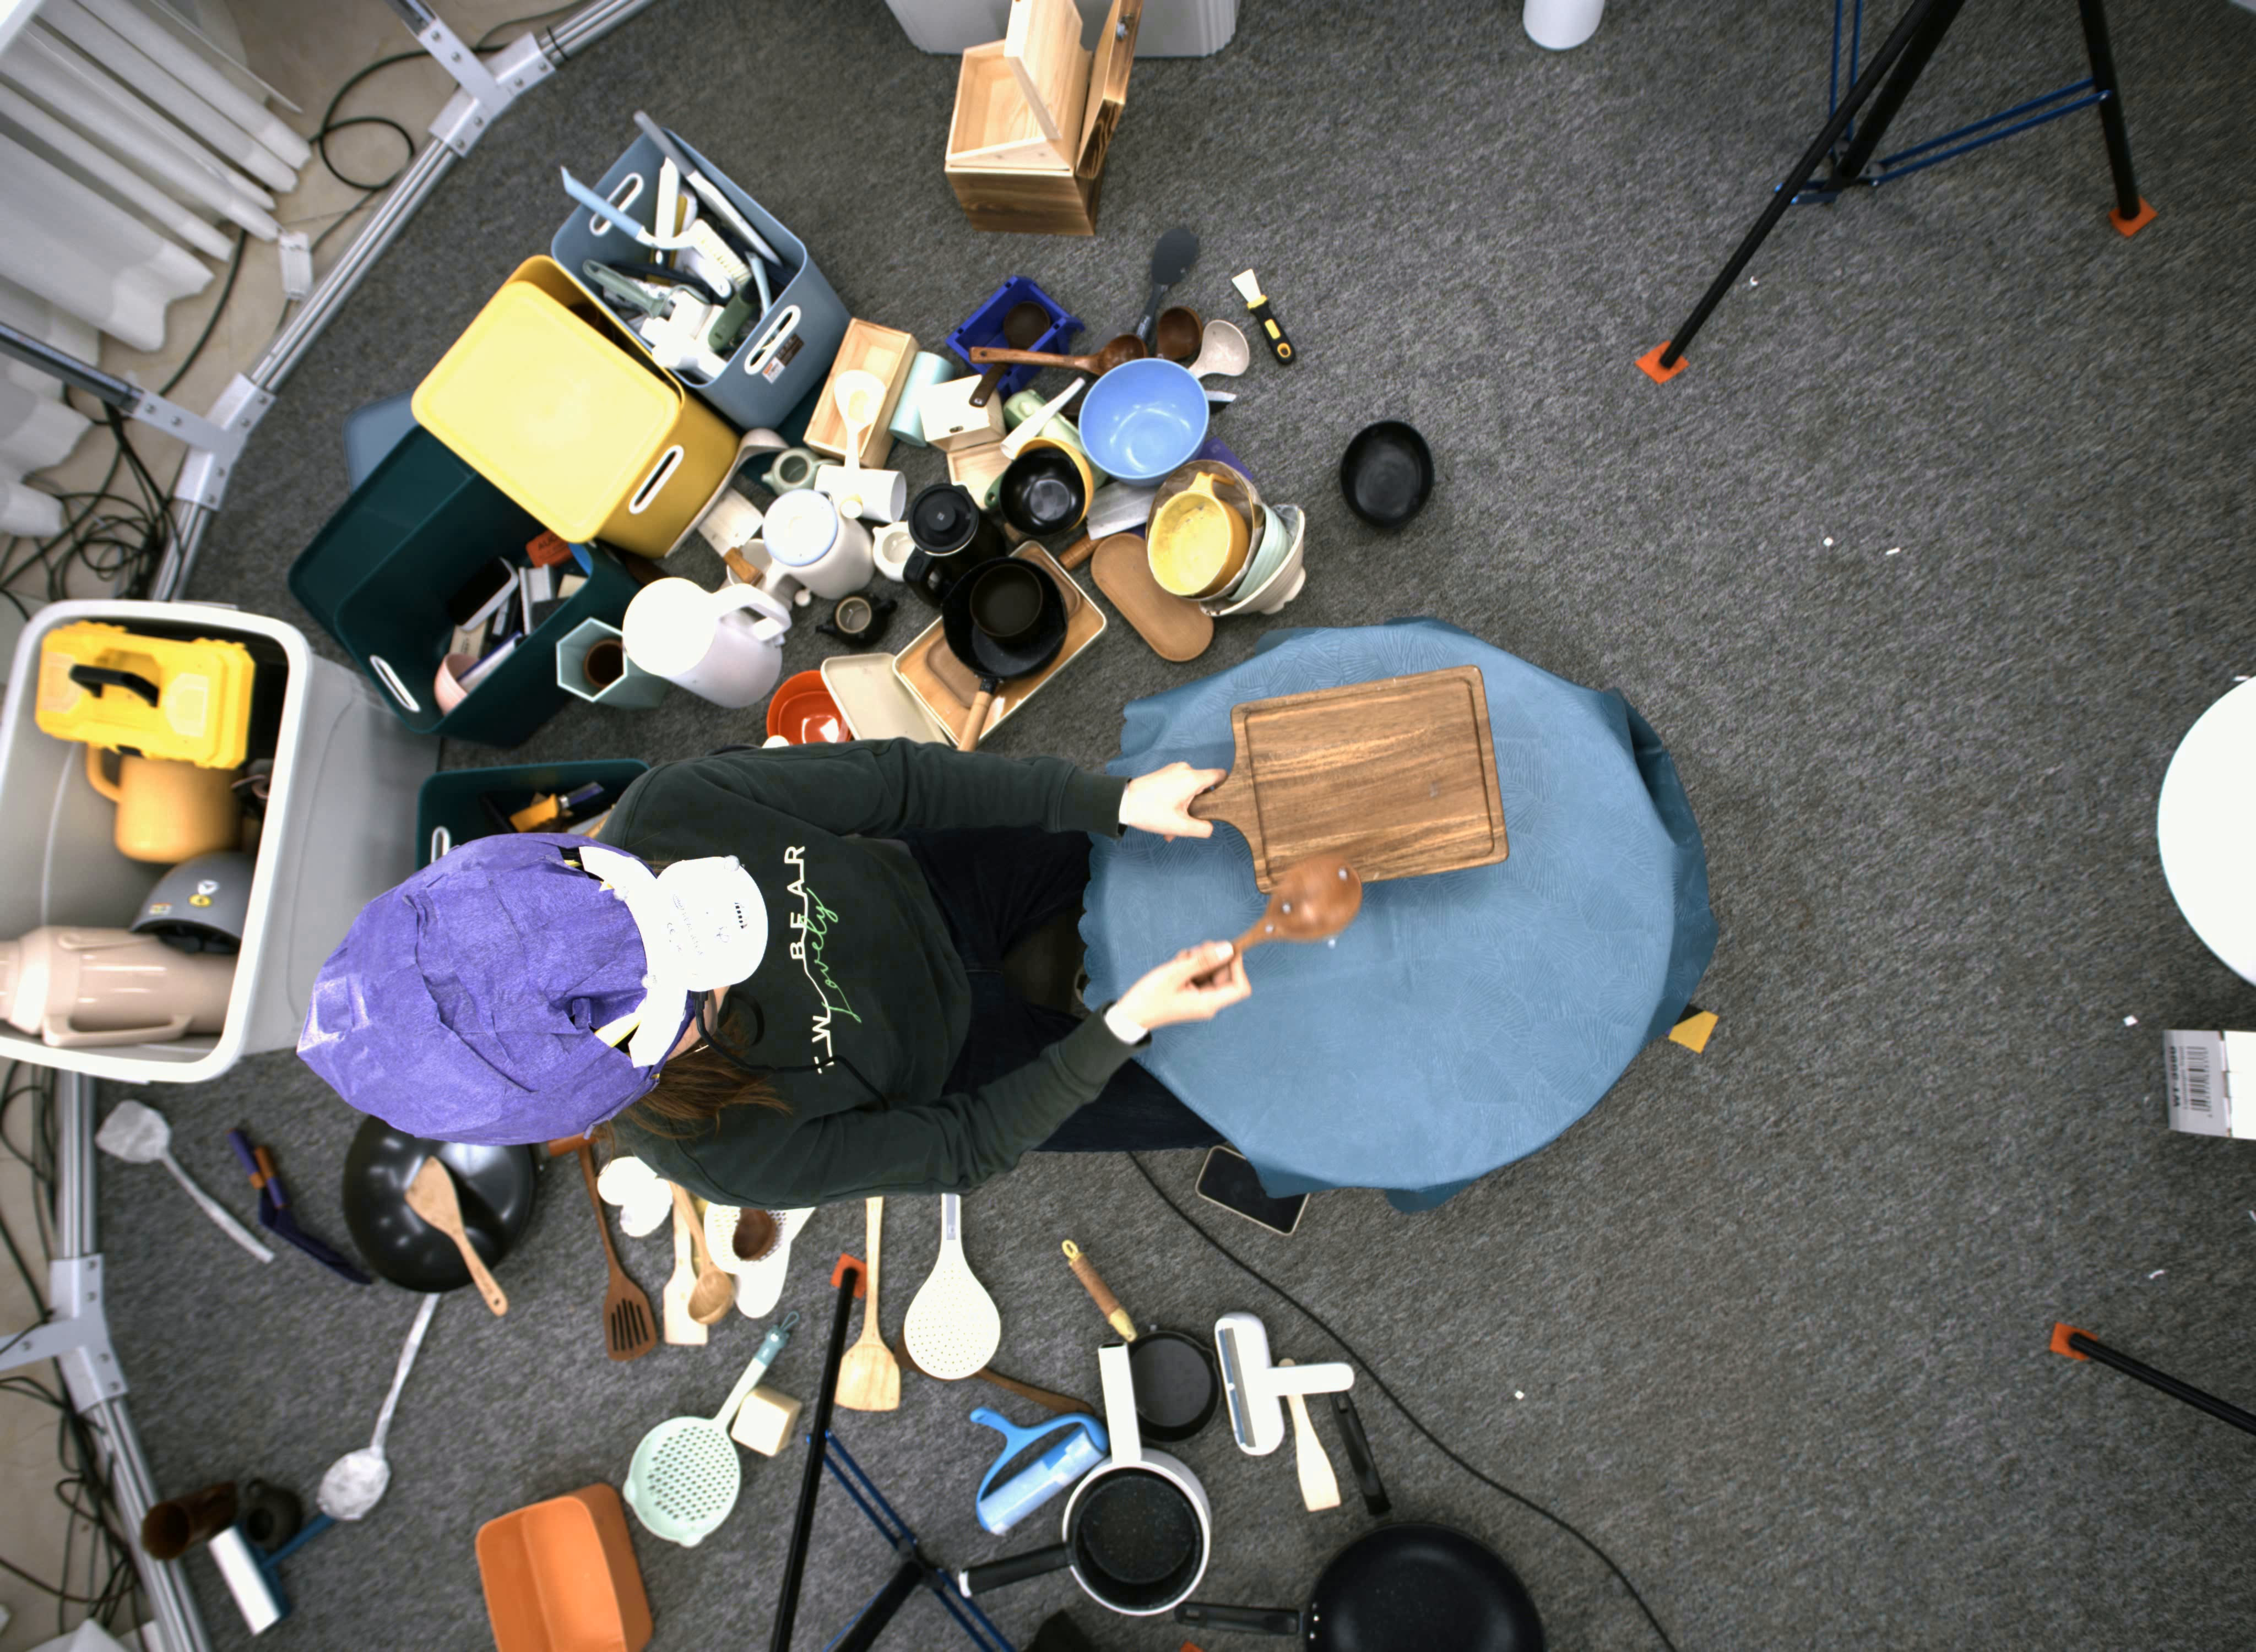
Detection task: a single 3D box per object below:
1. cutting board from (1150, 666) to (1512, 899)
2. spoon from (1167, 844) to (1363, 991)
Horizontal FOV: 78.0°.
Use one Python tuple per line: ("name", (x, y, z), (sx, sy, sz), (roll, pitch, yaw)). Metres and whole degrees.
("cutting board", (0.193, -0.035, 1.384), (0.354, 0.023, 0.201), (-9, 95, 15))
("spoon", (0.124, 0.091, 1.290), (0.218, 0.017, 0.075), (-35, 77, 18))
